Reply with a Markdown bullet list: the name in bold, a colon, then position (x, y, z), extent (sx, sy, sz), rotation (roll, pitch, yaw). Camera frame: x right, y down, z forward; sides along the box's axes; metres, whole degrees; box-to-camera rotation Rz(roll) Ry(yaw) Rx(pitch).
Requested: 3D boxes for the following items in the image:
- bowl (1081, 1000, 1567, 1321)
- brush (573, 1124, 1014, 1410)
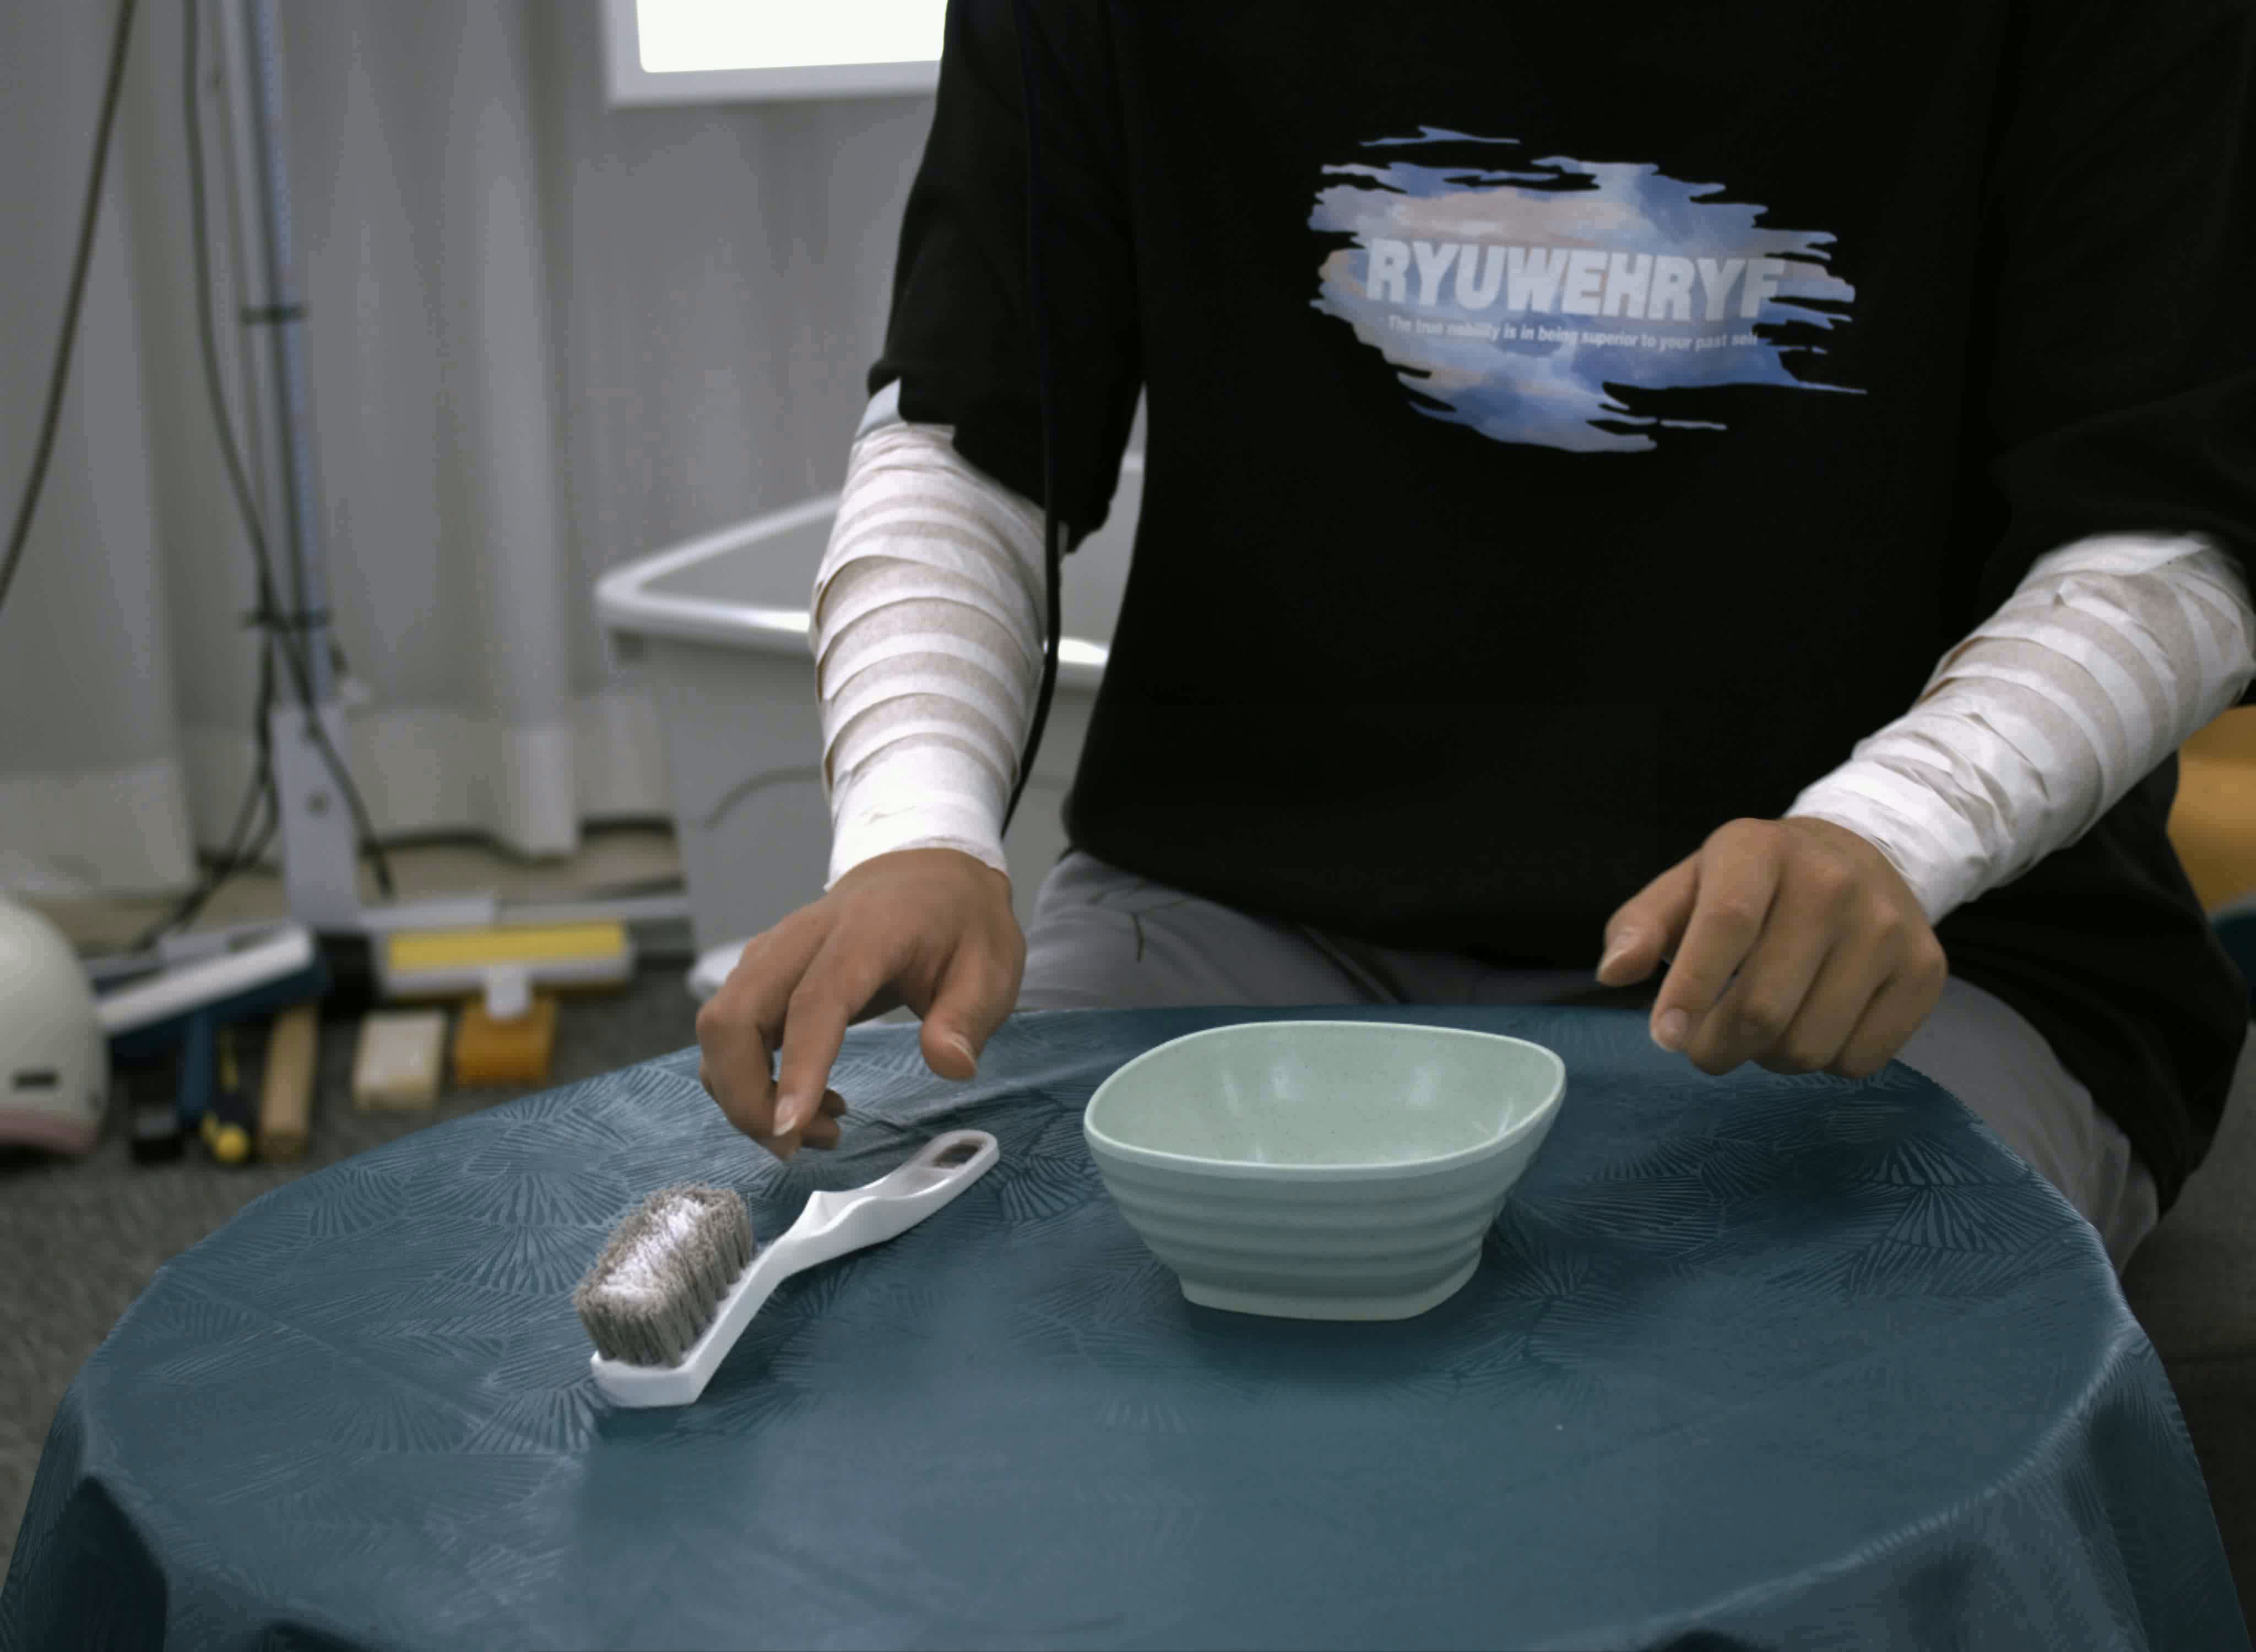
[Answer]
- **bowl**: position (0.059, 0.103, 1.625), extent (0.151, 0.058, 0.152), rotation (-1, 18, 0)
- **brush**: position (-0.095, 0.112, 1.640), extent (0.034, 0.050, 0.244), rotation (5, 17, 24)
